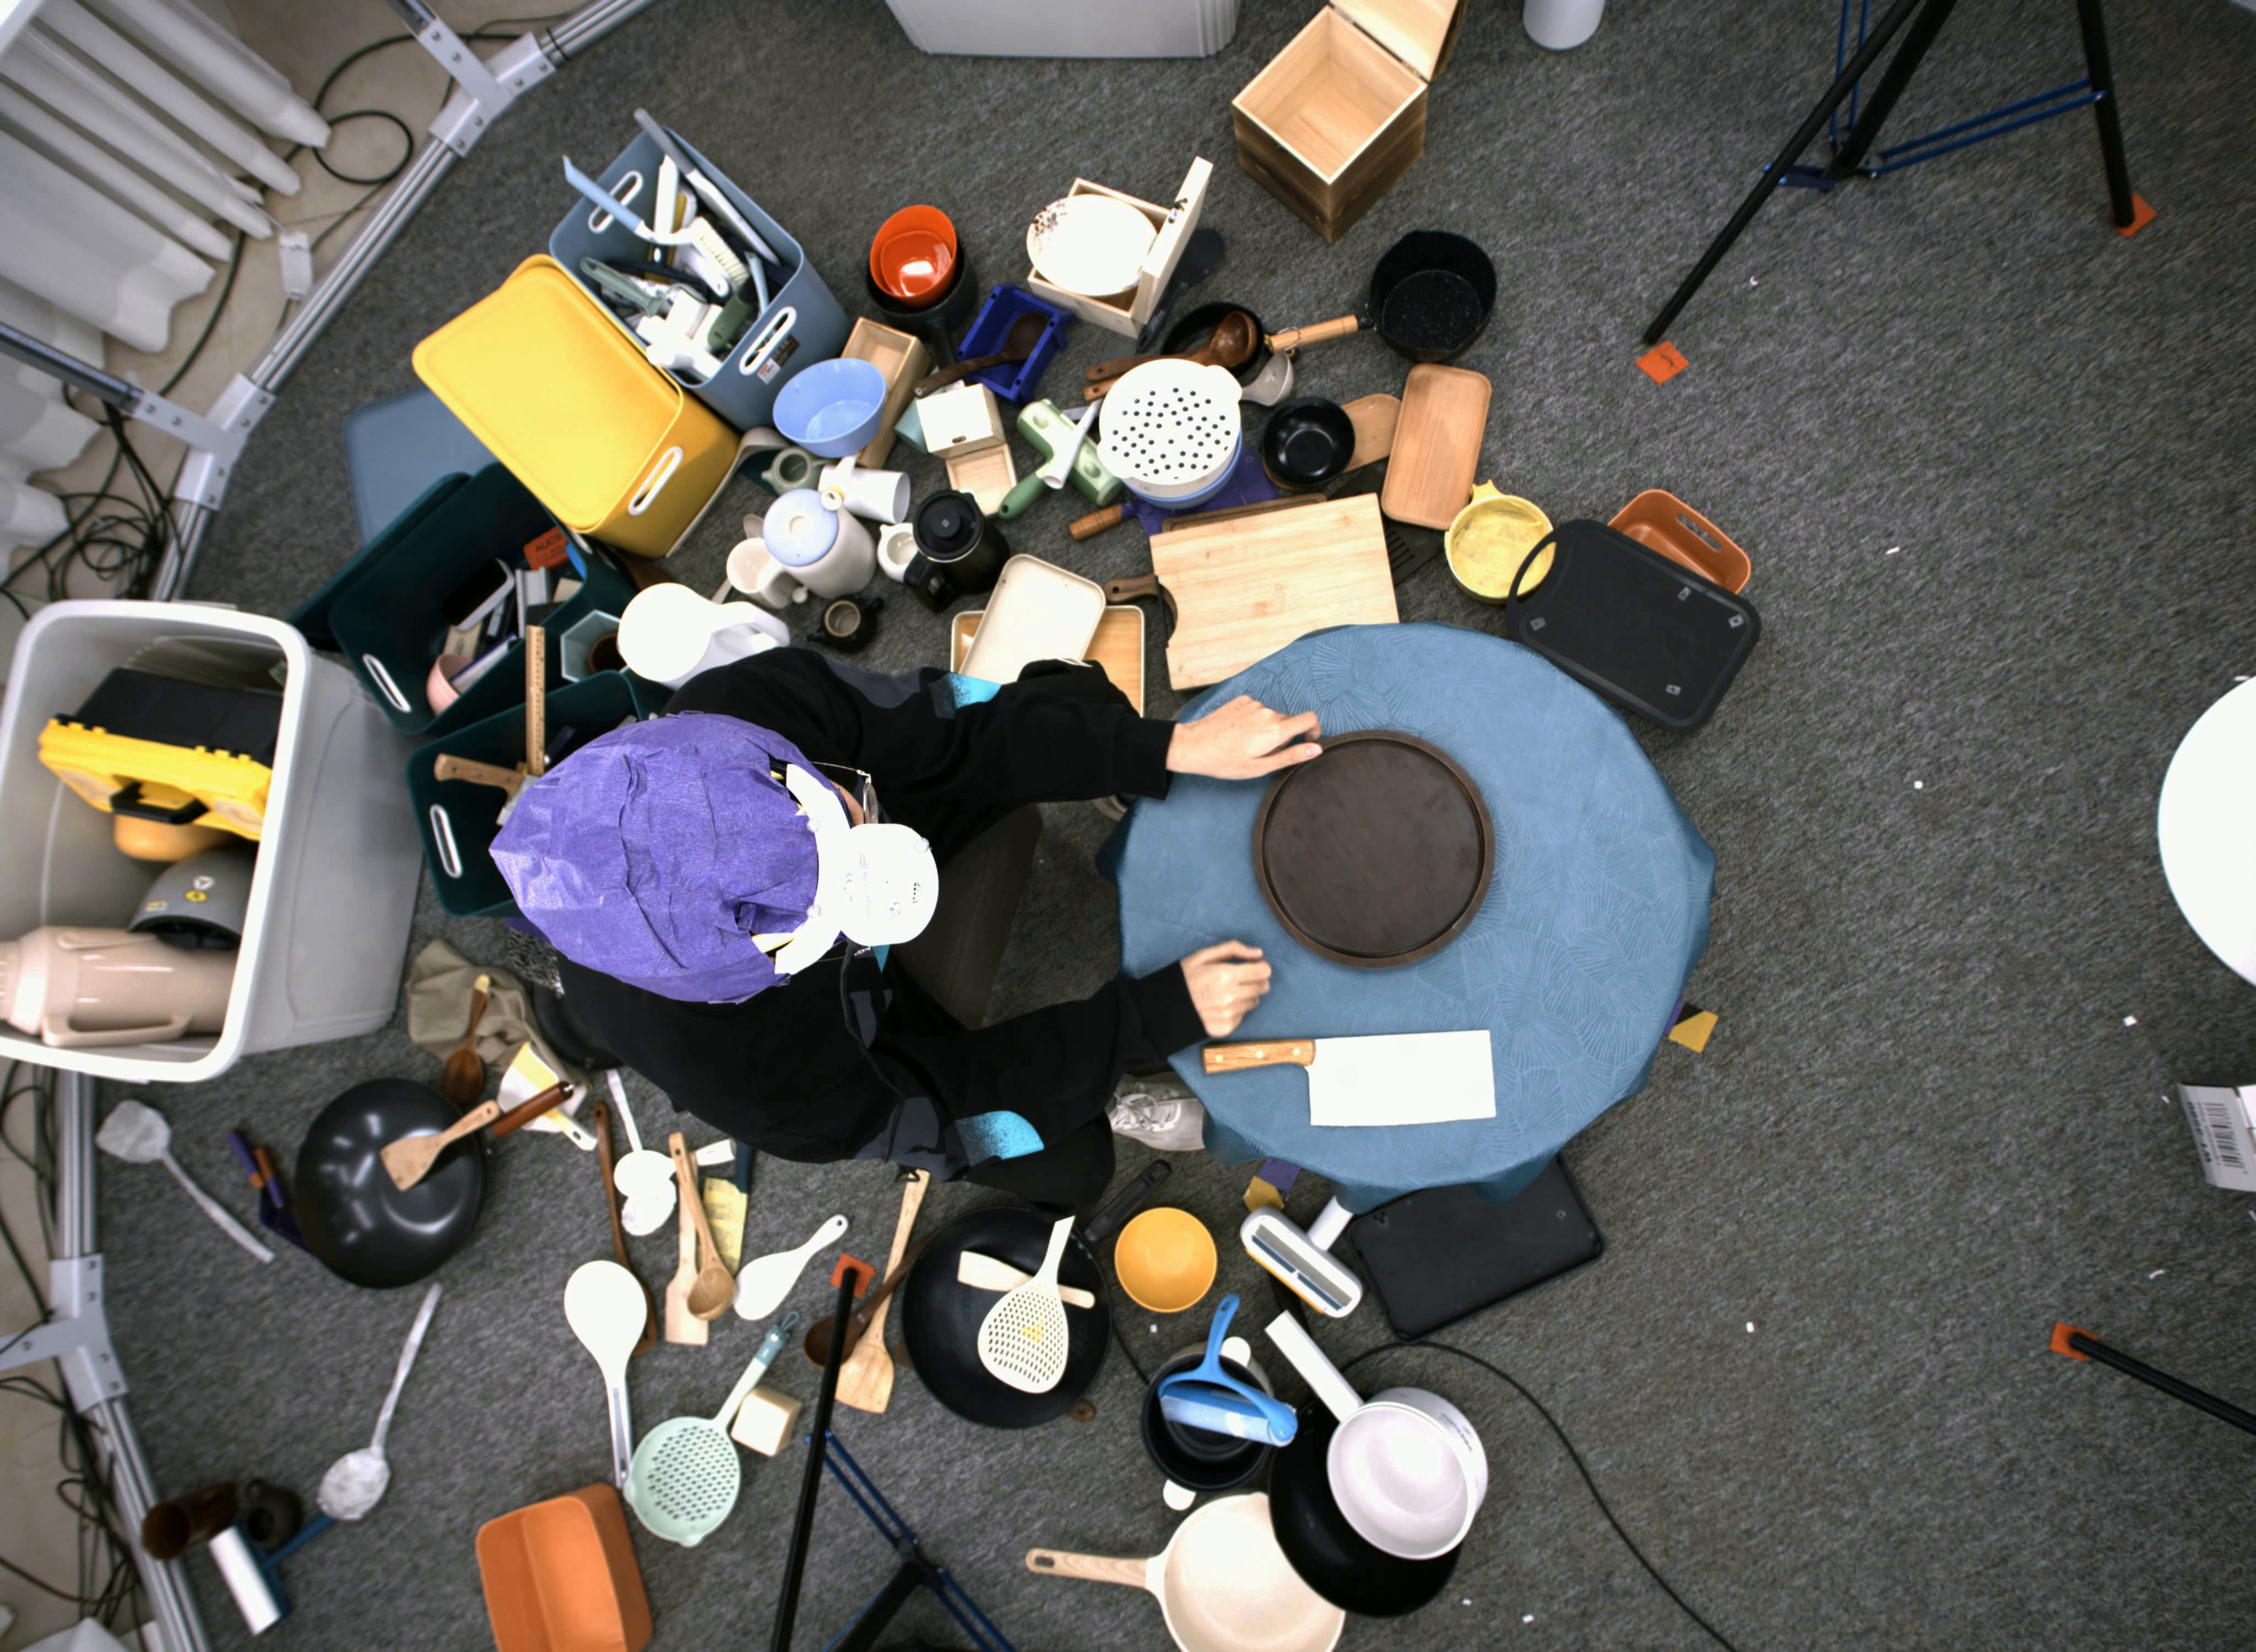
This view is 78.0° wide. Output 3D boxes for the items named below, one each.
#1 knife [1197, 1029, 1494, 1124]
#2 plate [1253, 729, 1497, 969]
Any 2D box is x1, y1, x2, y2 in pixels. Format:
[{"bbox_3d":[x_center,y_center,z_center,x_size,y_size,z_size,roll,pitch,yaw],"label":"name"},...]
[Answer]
[{"bbox_3d":[0.227,0.263,1.450,0.307,0.021,0.092,-4,88,8],"label":"knife"},{"bbox_3d":[0.258,0.023,1.452,0.256,0.029,0.254,-1,88,9],"label":"plate"}]
